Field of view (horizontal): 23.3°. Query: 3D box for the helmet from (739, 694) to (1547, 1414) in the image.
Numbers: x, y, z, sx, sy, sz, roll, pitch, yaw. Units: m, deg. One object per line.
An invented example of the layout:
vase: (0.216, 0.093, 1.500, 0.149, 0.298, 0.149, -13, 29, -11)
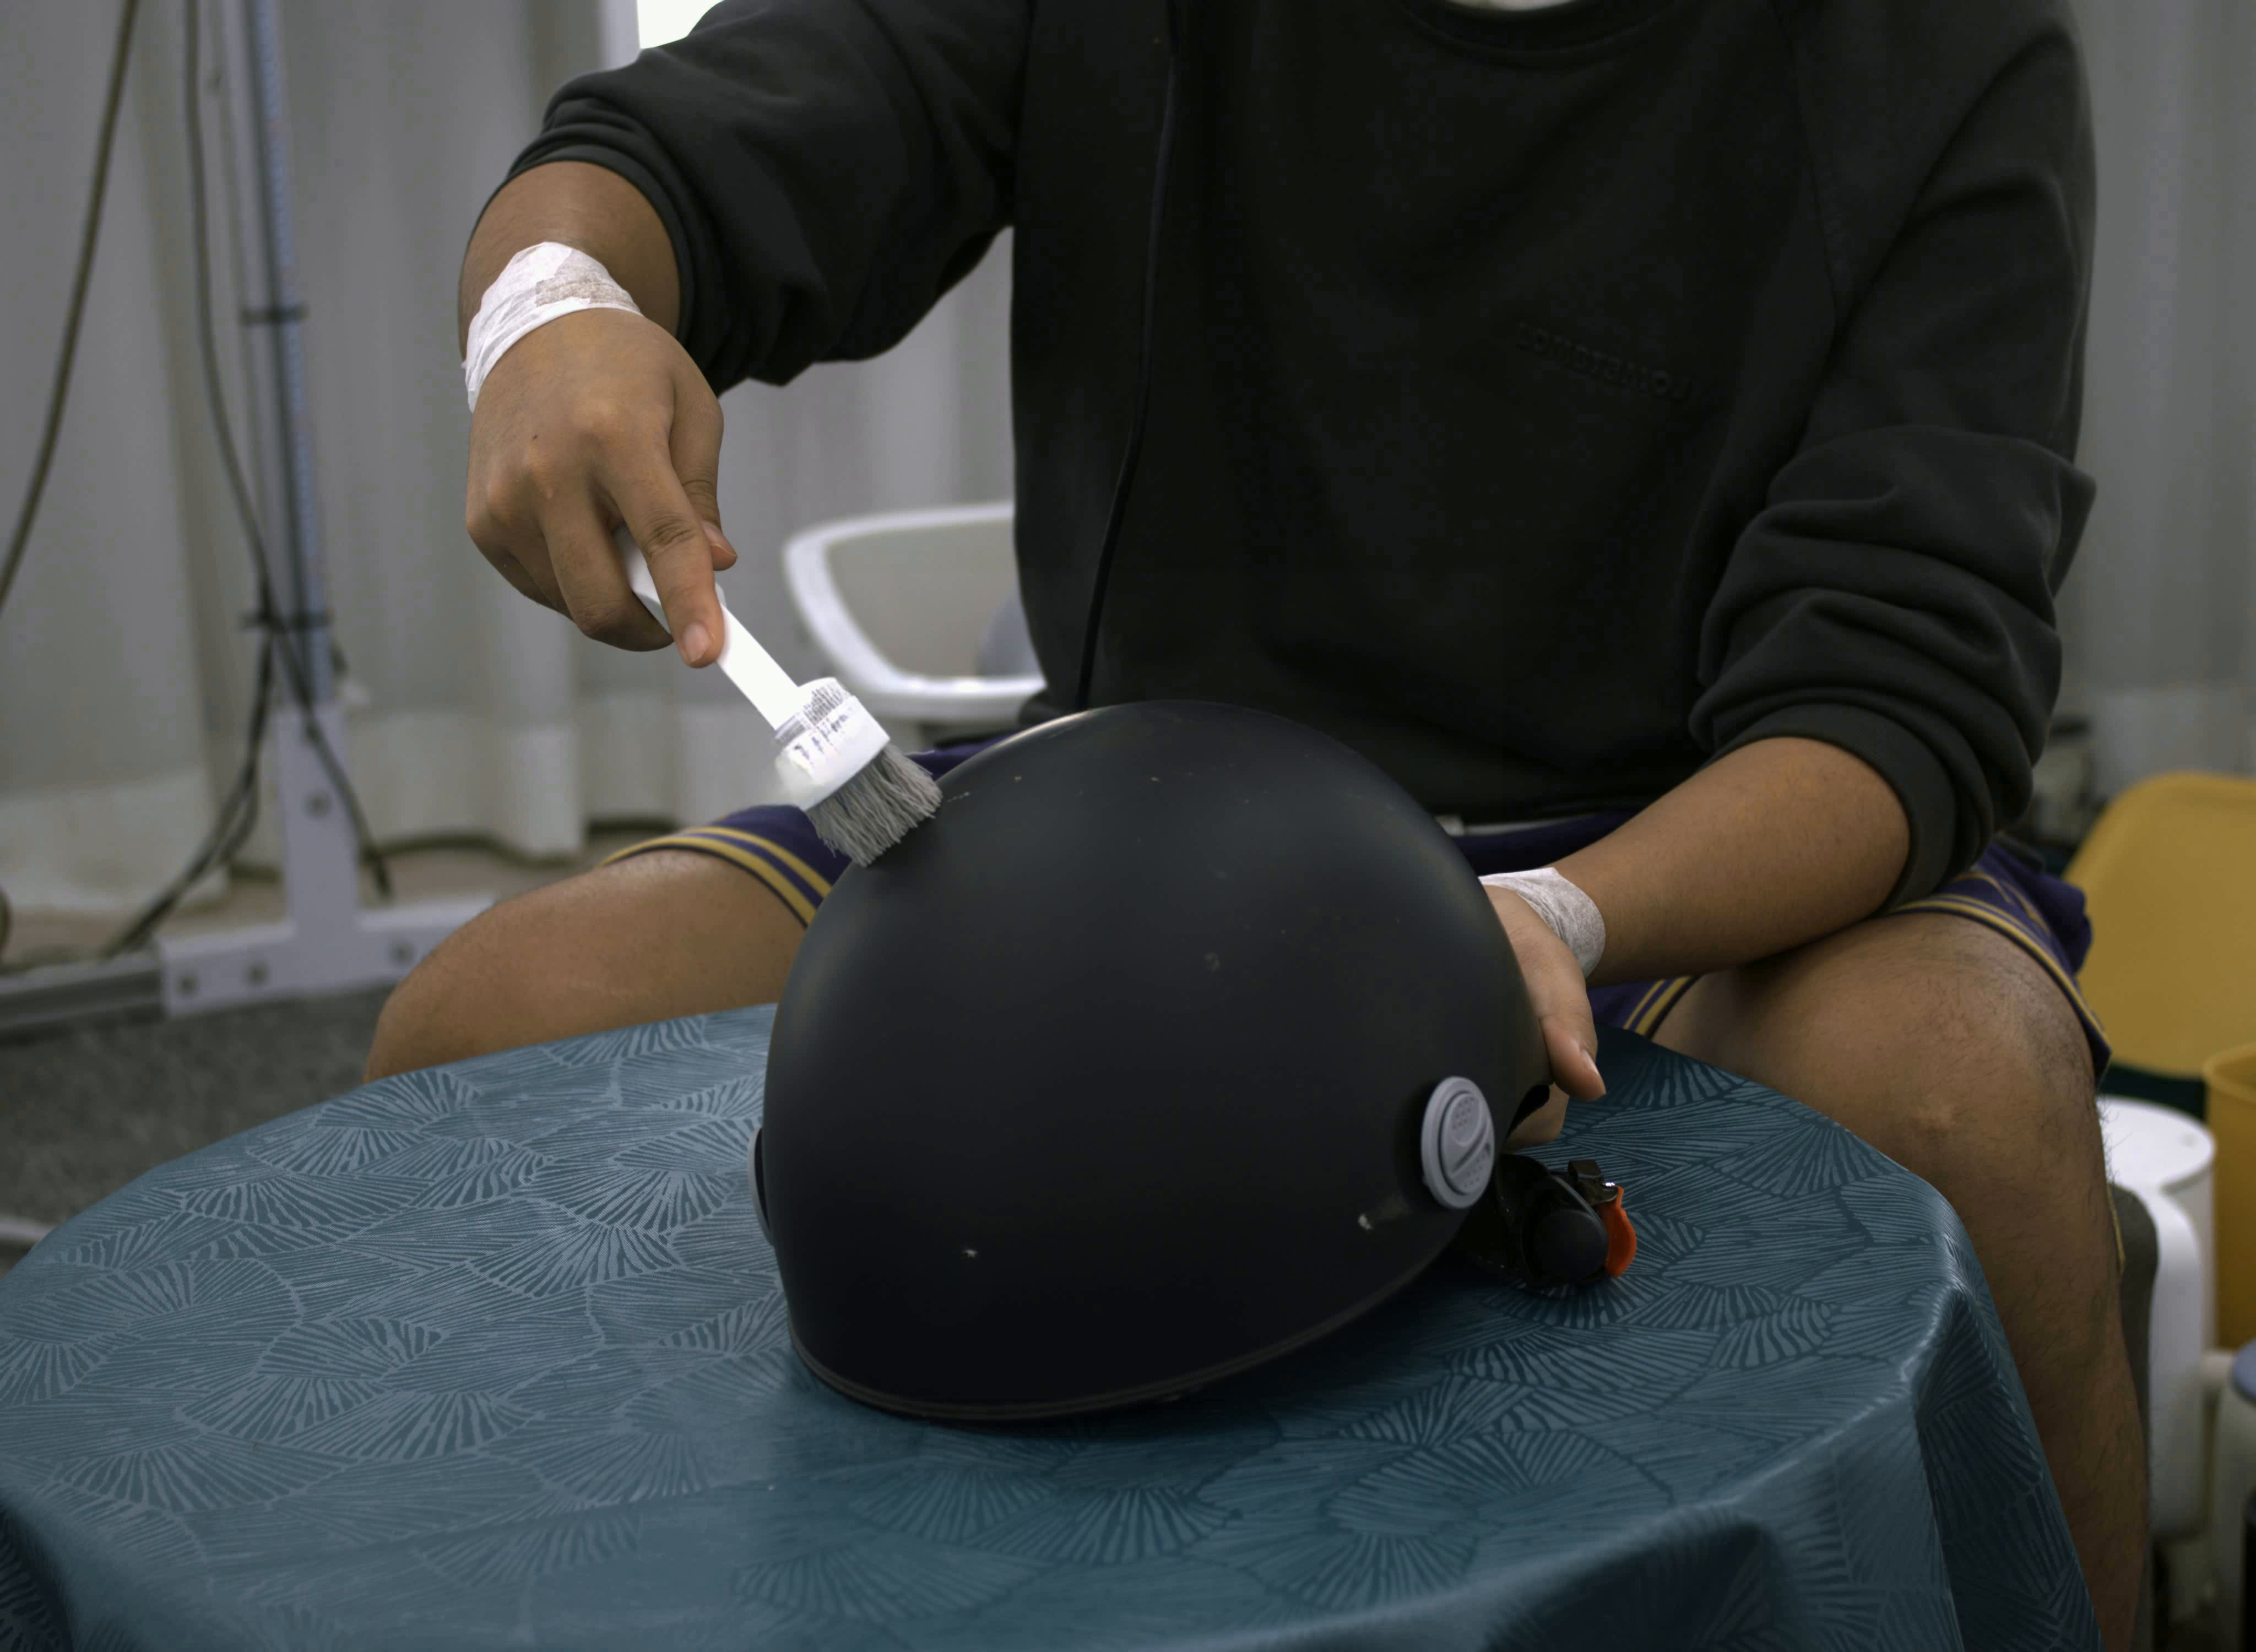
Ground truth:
helmet: (-0.002, 0.053, 1.615, 0.230, 0.166, 0.274, -5, 16, 25)

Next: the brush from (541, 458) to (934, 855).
brush: (-0.121, -0.053, 1.681, 0.034, 0.049, 0.246, -39, 35, -6)
